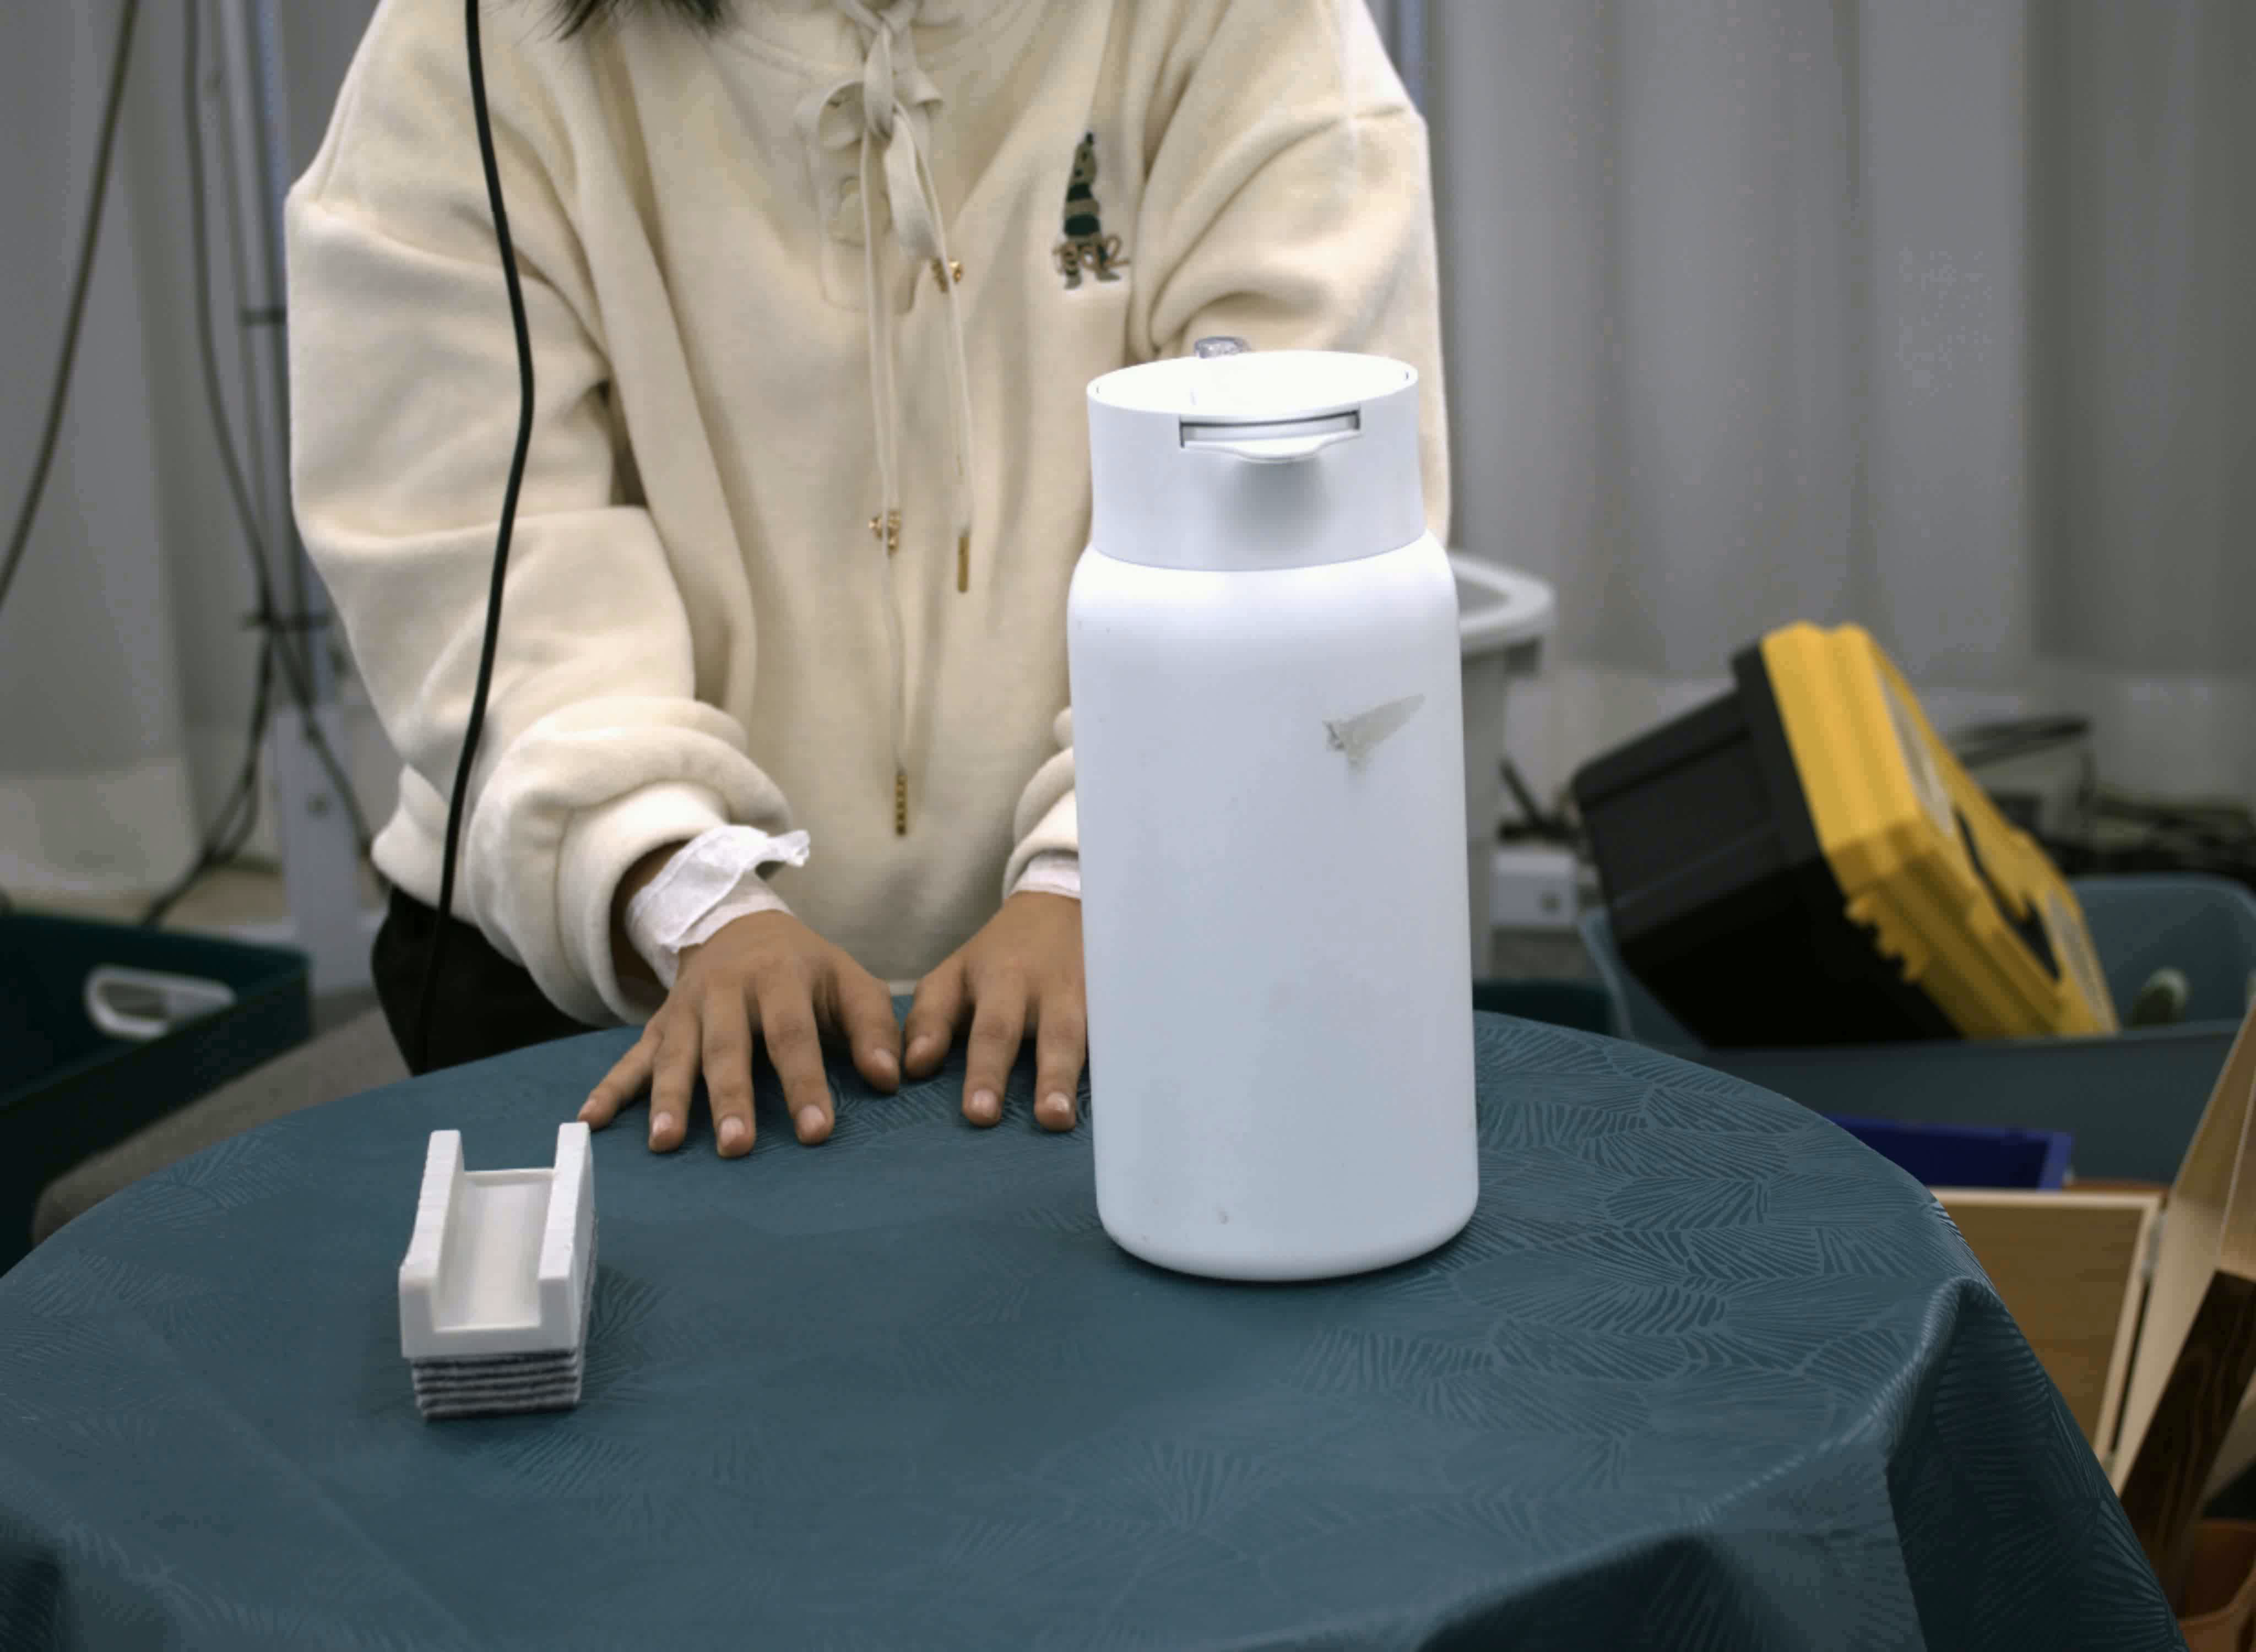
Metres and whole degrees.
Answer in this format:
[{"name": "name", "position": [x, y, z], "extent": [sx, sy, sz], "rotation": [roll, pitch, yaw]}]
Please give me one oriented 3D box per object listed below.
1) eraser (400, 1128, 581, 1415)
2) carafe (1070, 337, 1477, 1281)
[{"name": "eraser", "position": [-0.185, 0.130, 1.606], "extent": [0.049, 0.046, 0.135], "rotation": [-7, 15, -4]}, {"name": "carafe", "position": [0.040, -0.010, 1.659], "extent": [0.123, 0.268, 0.174], "rotation": [-6, 14, -4]}]
